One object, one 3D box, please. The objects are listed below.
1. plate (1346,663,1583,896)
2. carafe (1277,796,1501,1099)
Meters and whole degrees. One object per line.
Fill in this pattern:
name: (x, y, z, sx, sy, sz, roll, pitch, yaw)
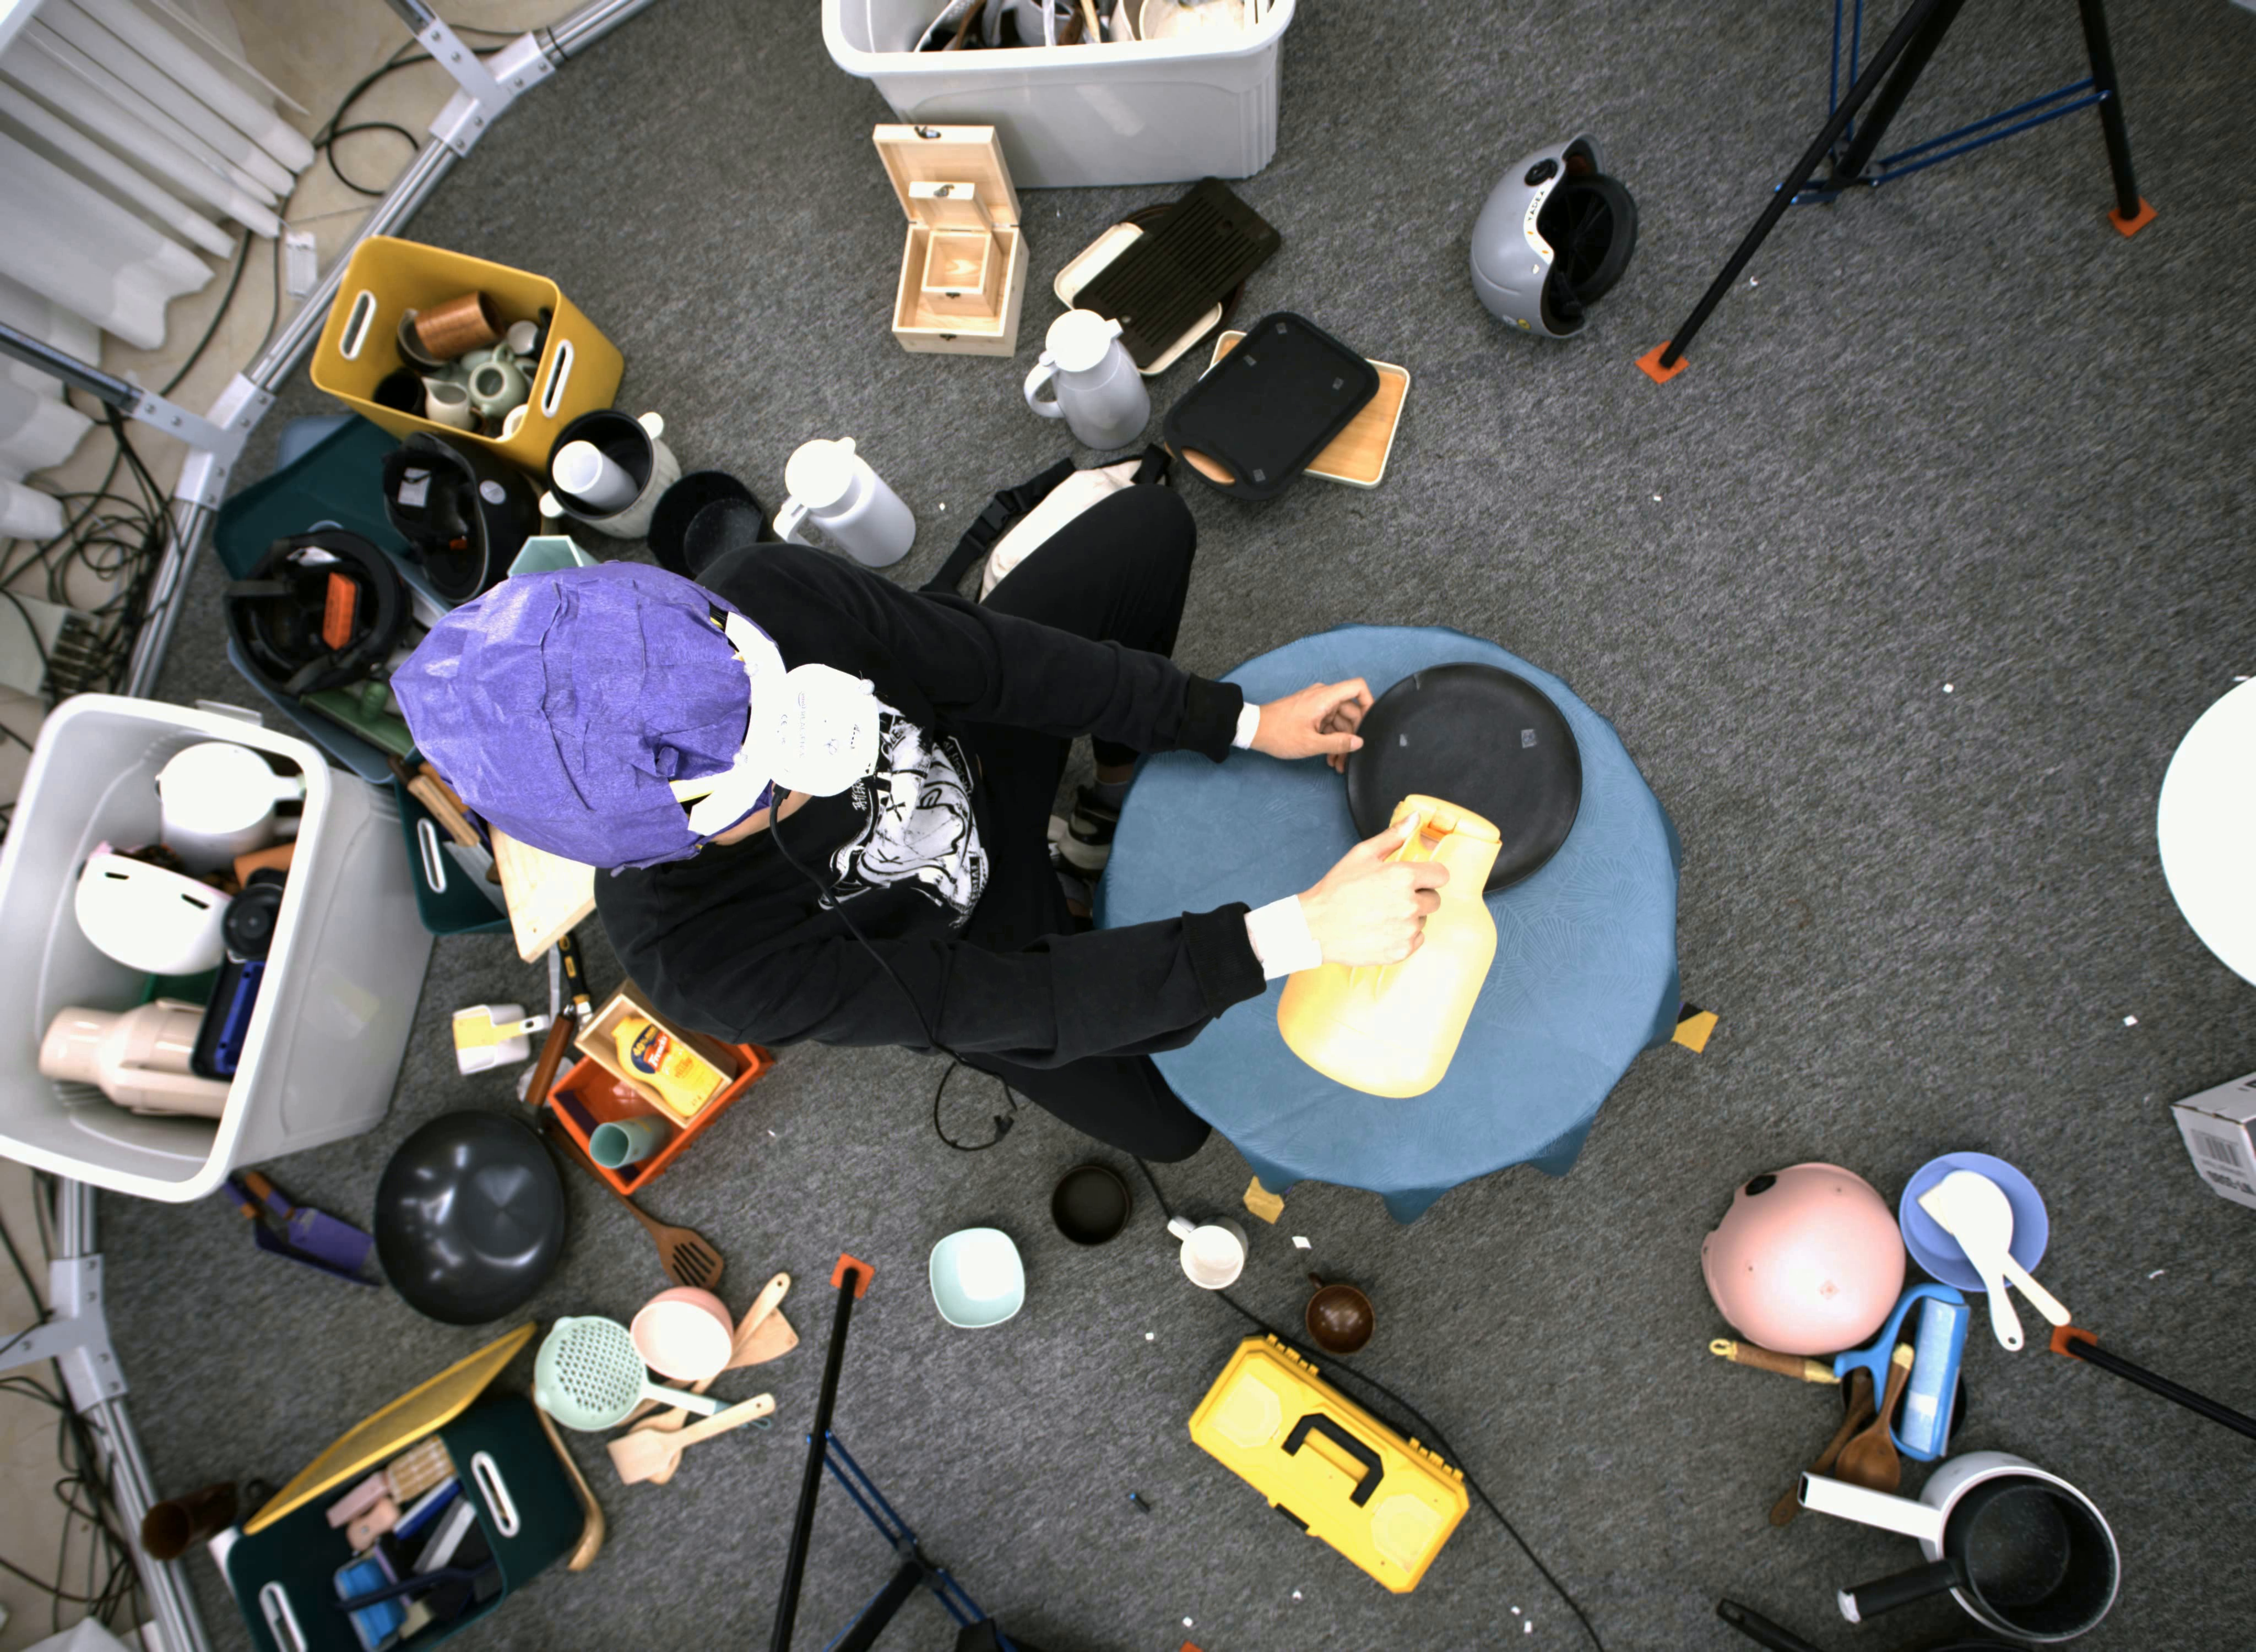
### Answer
plate: (0.348, -0.049, 1.428, 0.245, 0.023, 0.244, 0, 92, 5)
carafe: (0.236, 0.103, 1.228, 0.163, 0.201, 0.263, 24, 103, 23)
